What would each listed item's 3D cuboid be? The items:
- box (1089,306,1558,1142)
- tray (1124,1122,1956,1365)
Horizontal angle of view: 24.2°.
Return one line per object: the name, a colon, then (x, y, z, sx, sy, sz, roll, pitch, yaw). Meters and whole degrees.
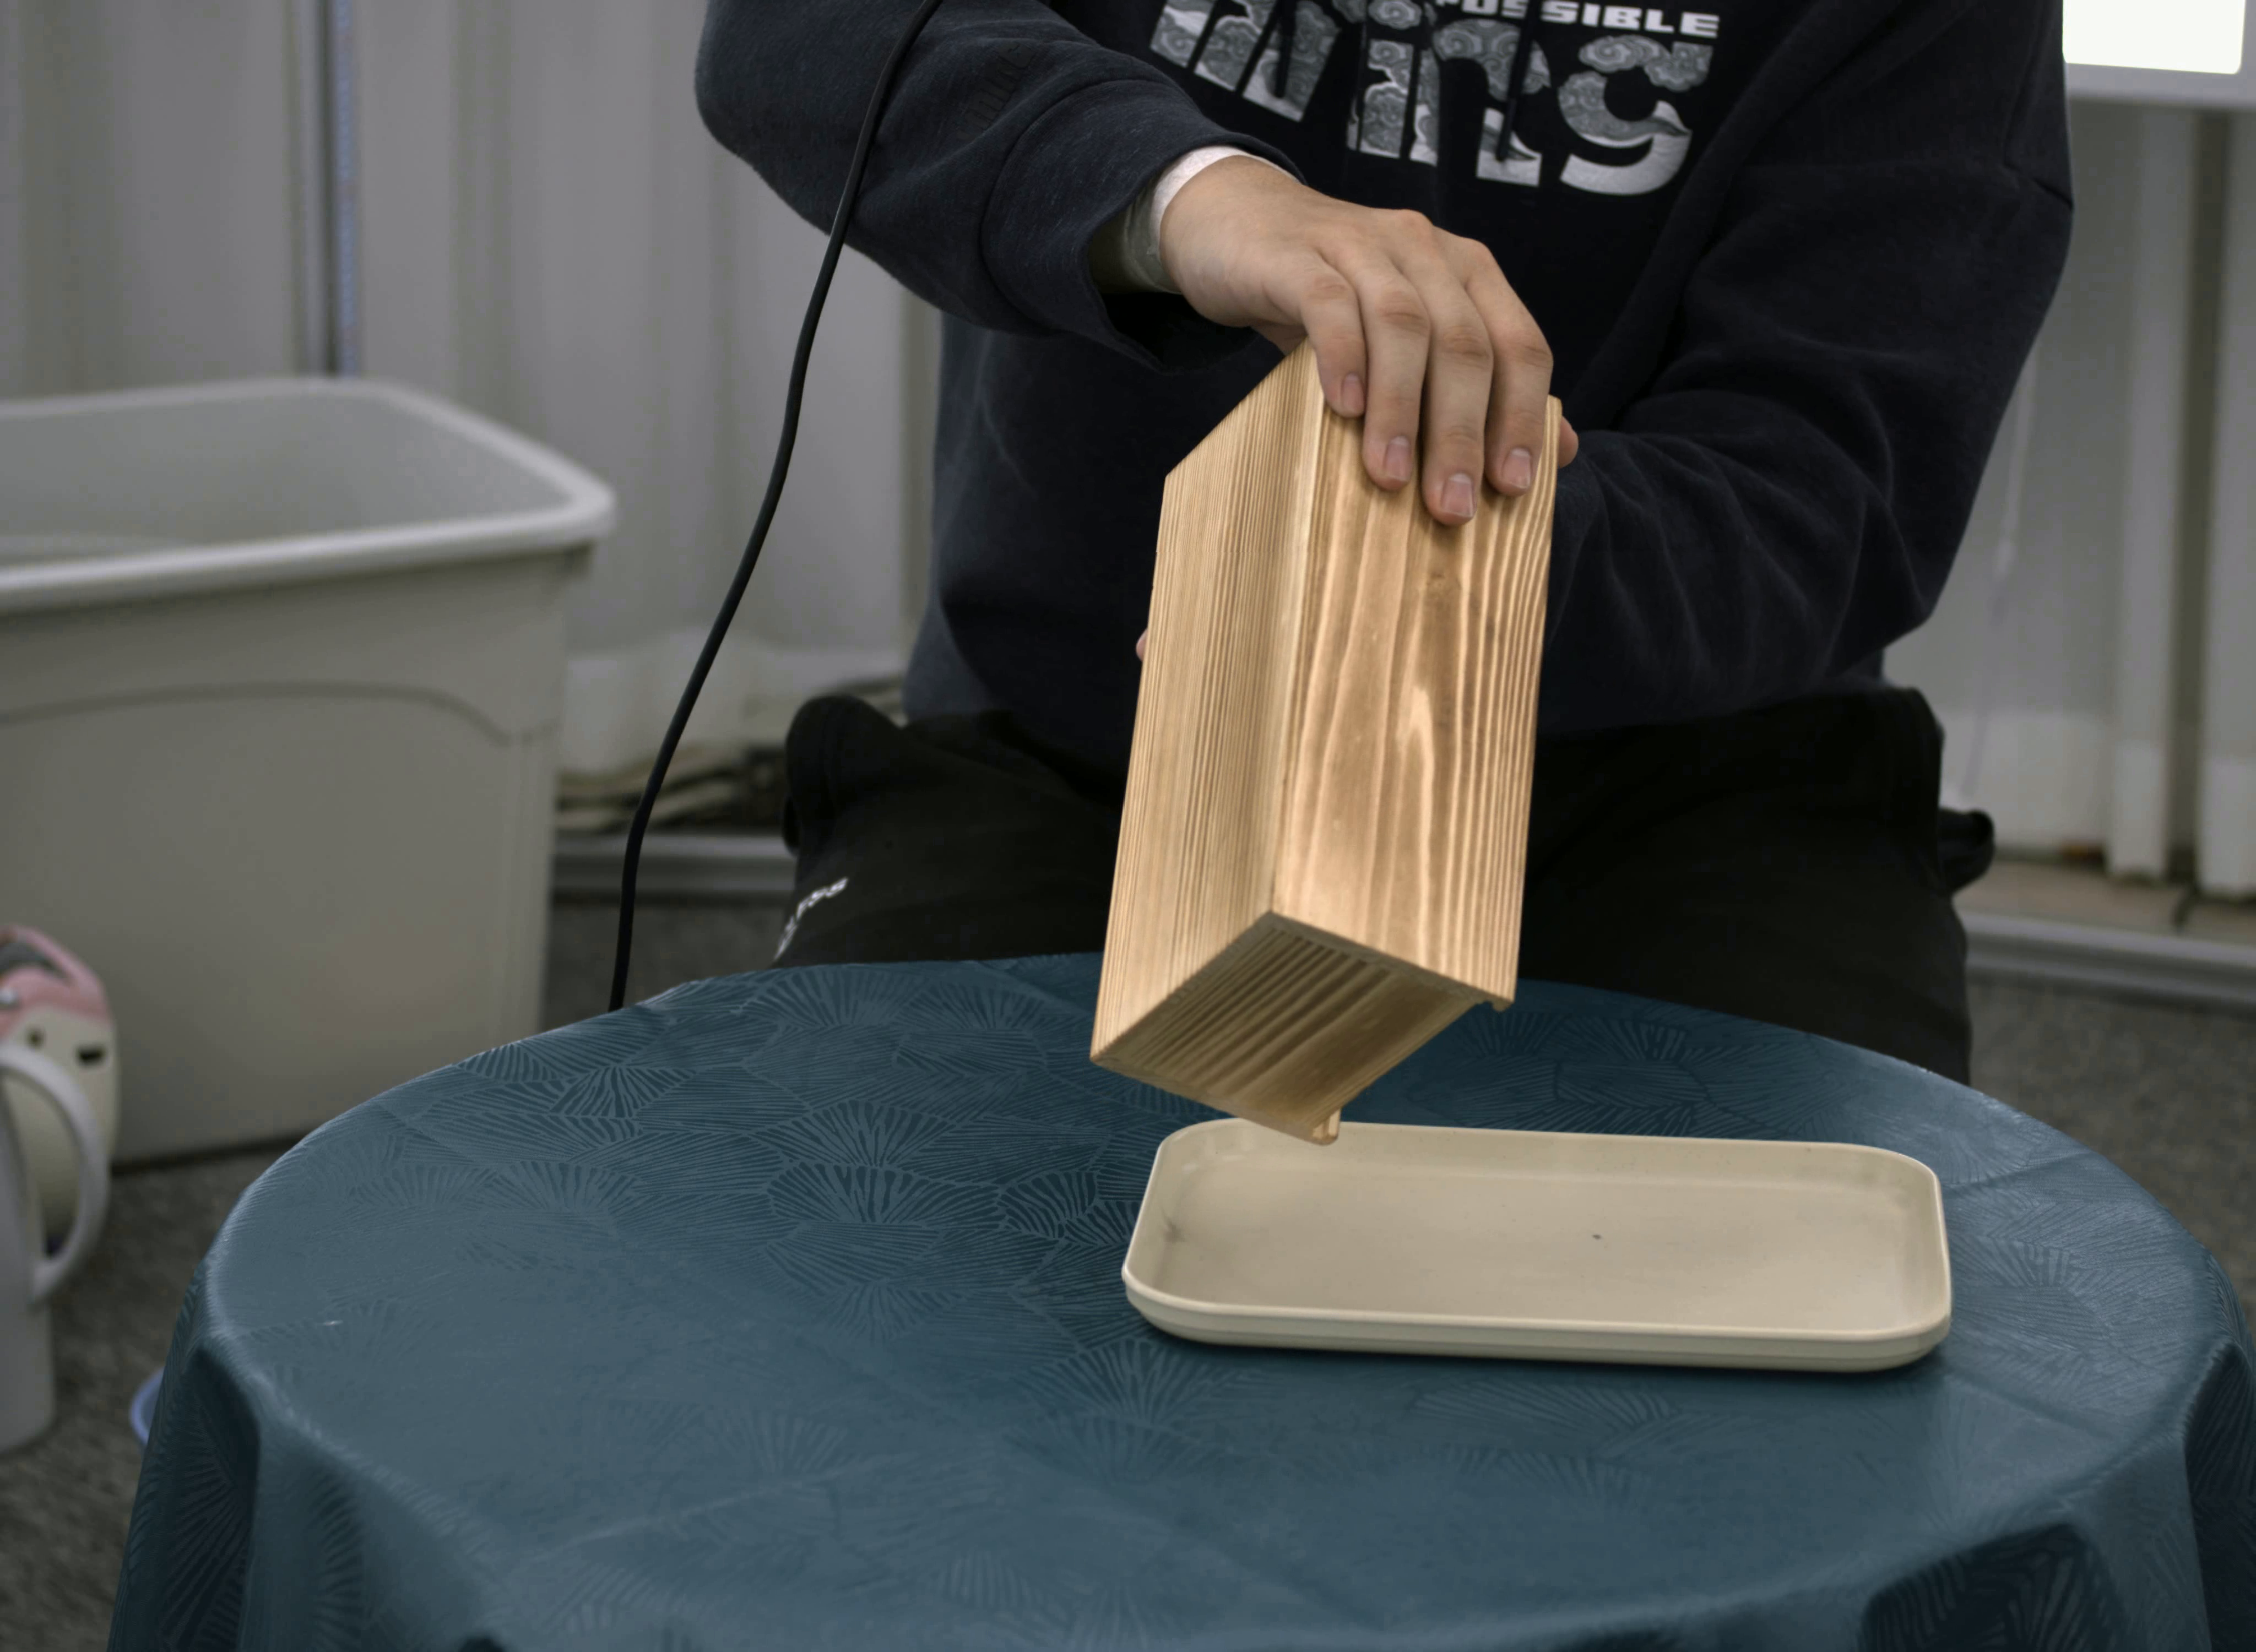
box: (0.058, -0.031, 1.537, 0.081, 0.210, 0.107, 21, -34, -21)
tray: (0.122, 0.124, 1.560, 0.238, 0.017, 0.170, 2, 15, 5)
